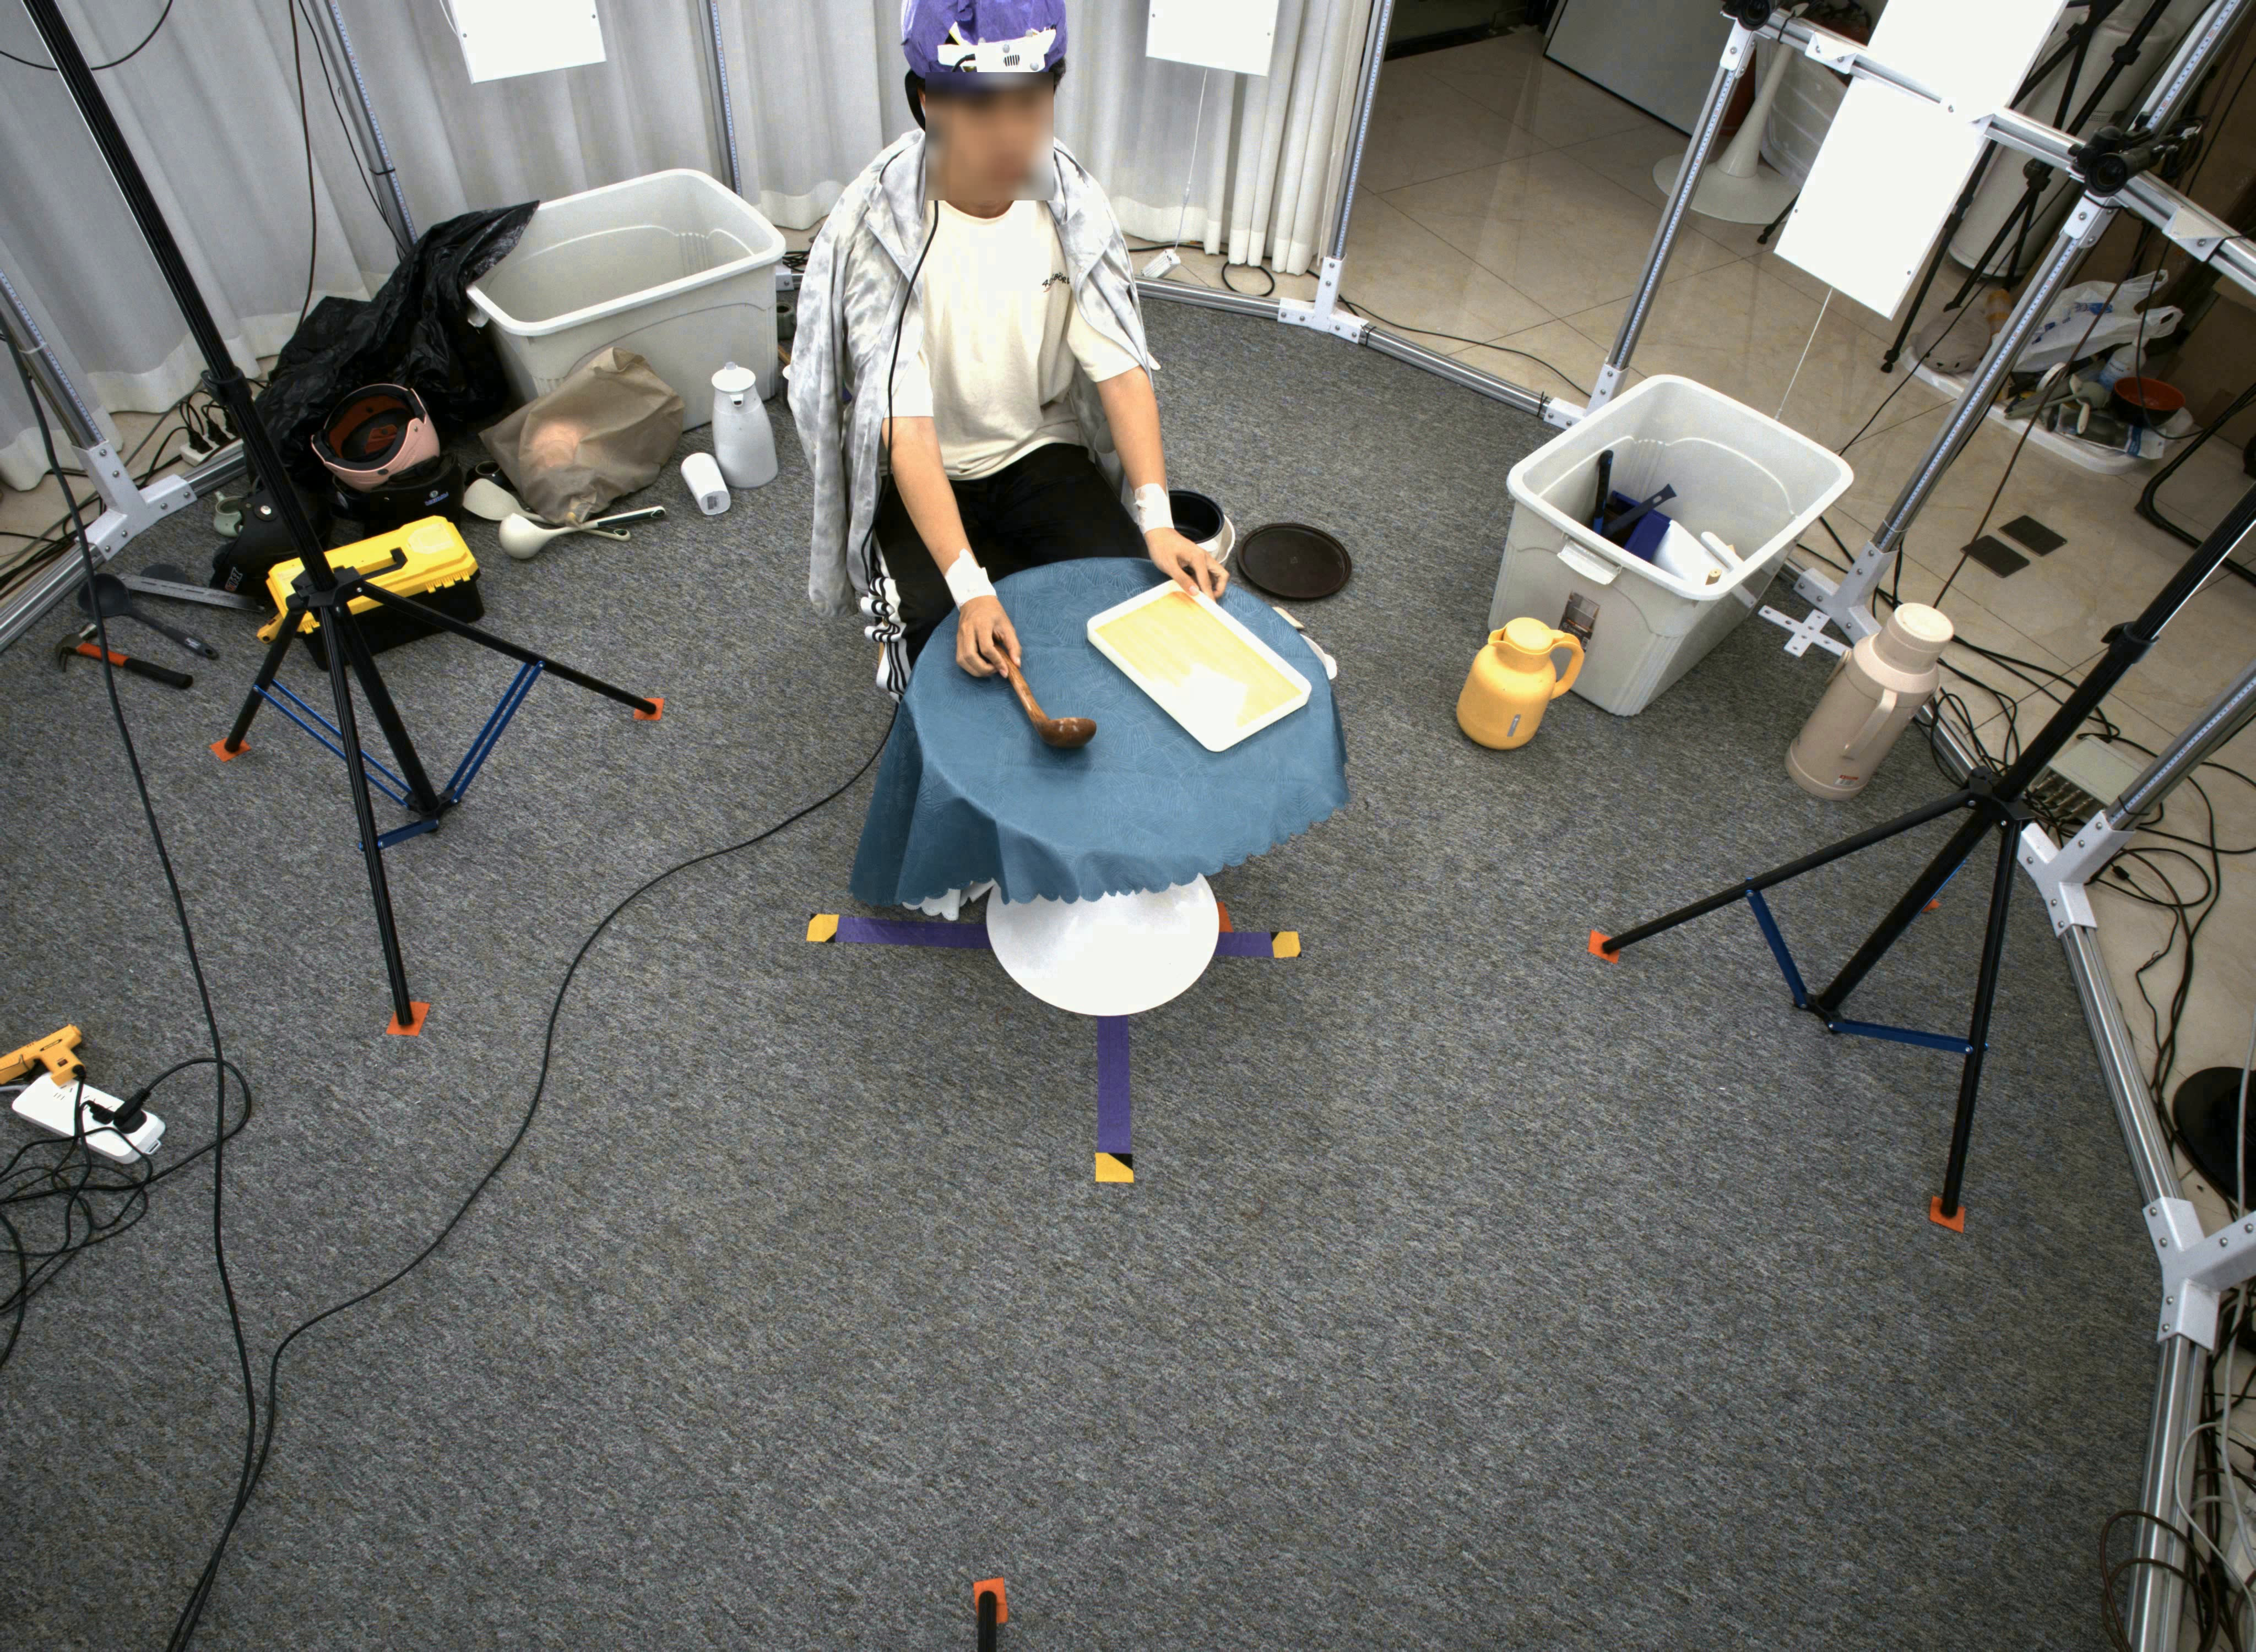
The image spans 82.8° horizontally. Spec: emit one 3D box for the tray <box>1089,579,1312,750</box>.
[{"bbox_3d":[0.102,-0.240,1.859,0.193,0.027,0.306,-29,56,-26],"label":"tray"}]

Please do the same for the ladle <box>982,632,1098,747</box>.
[{"bbox_3d":[-0.129,-0.205,1.781,0.081,0.076,0.280,14,35,-45],"label":"ladle"}]
